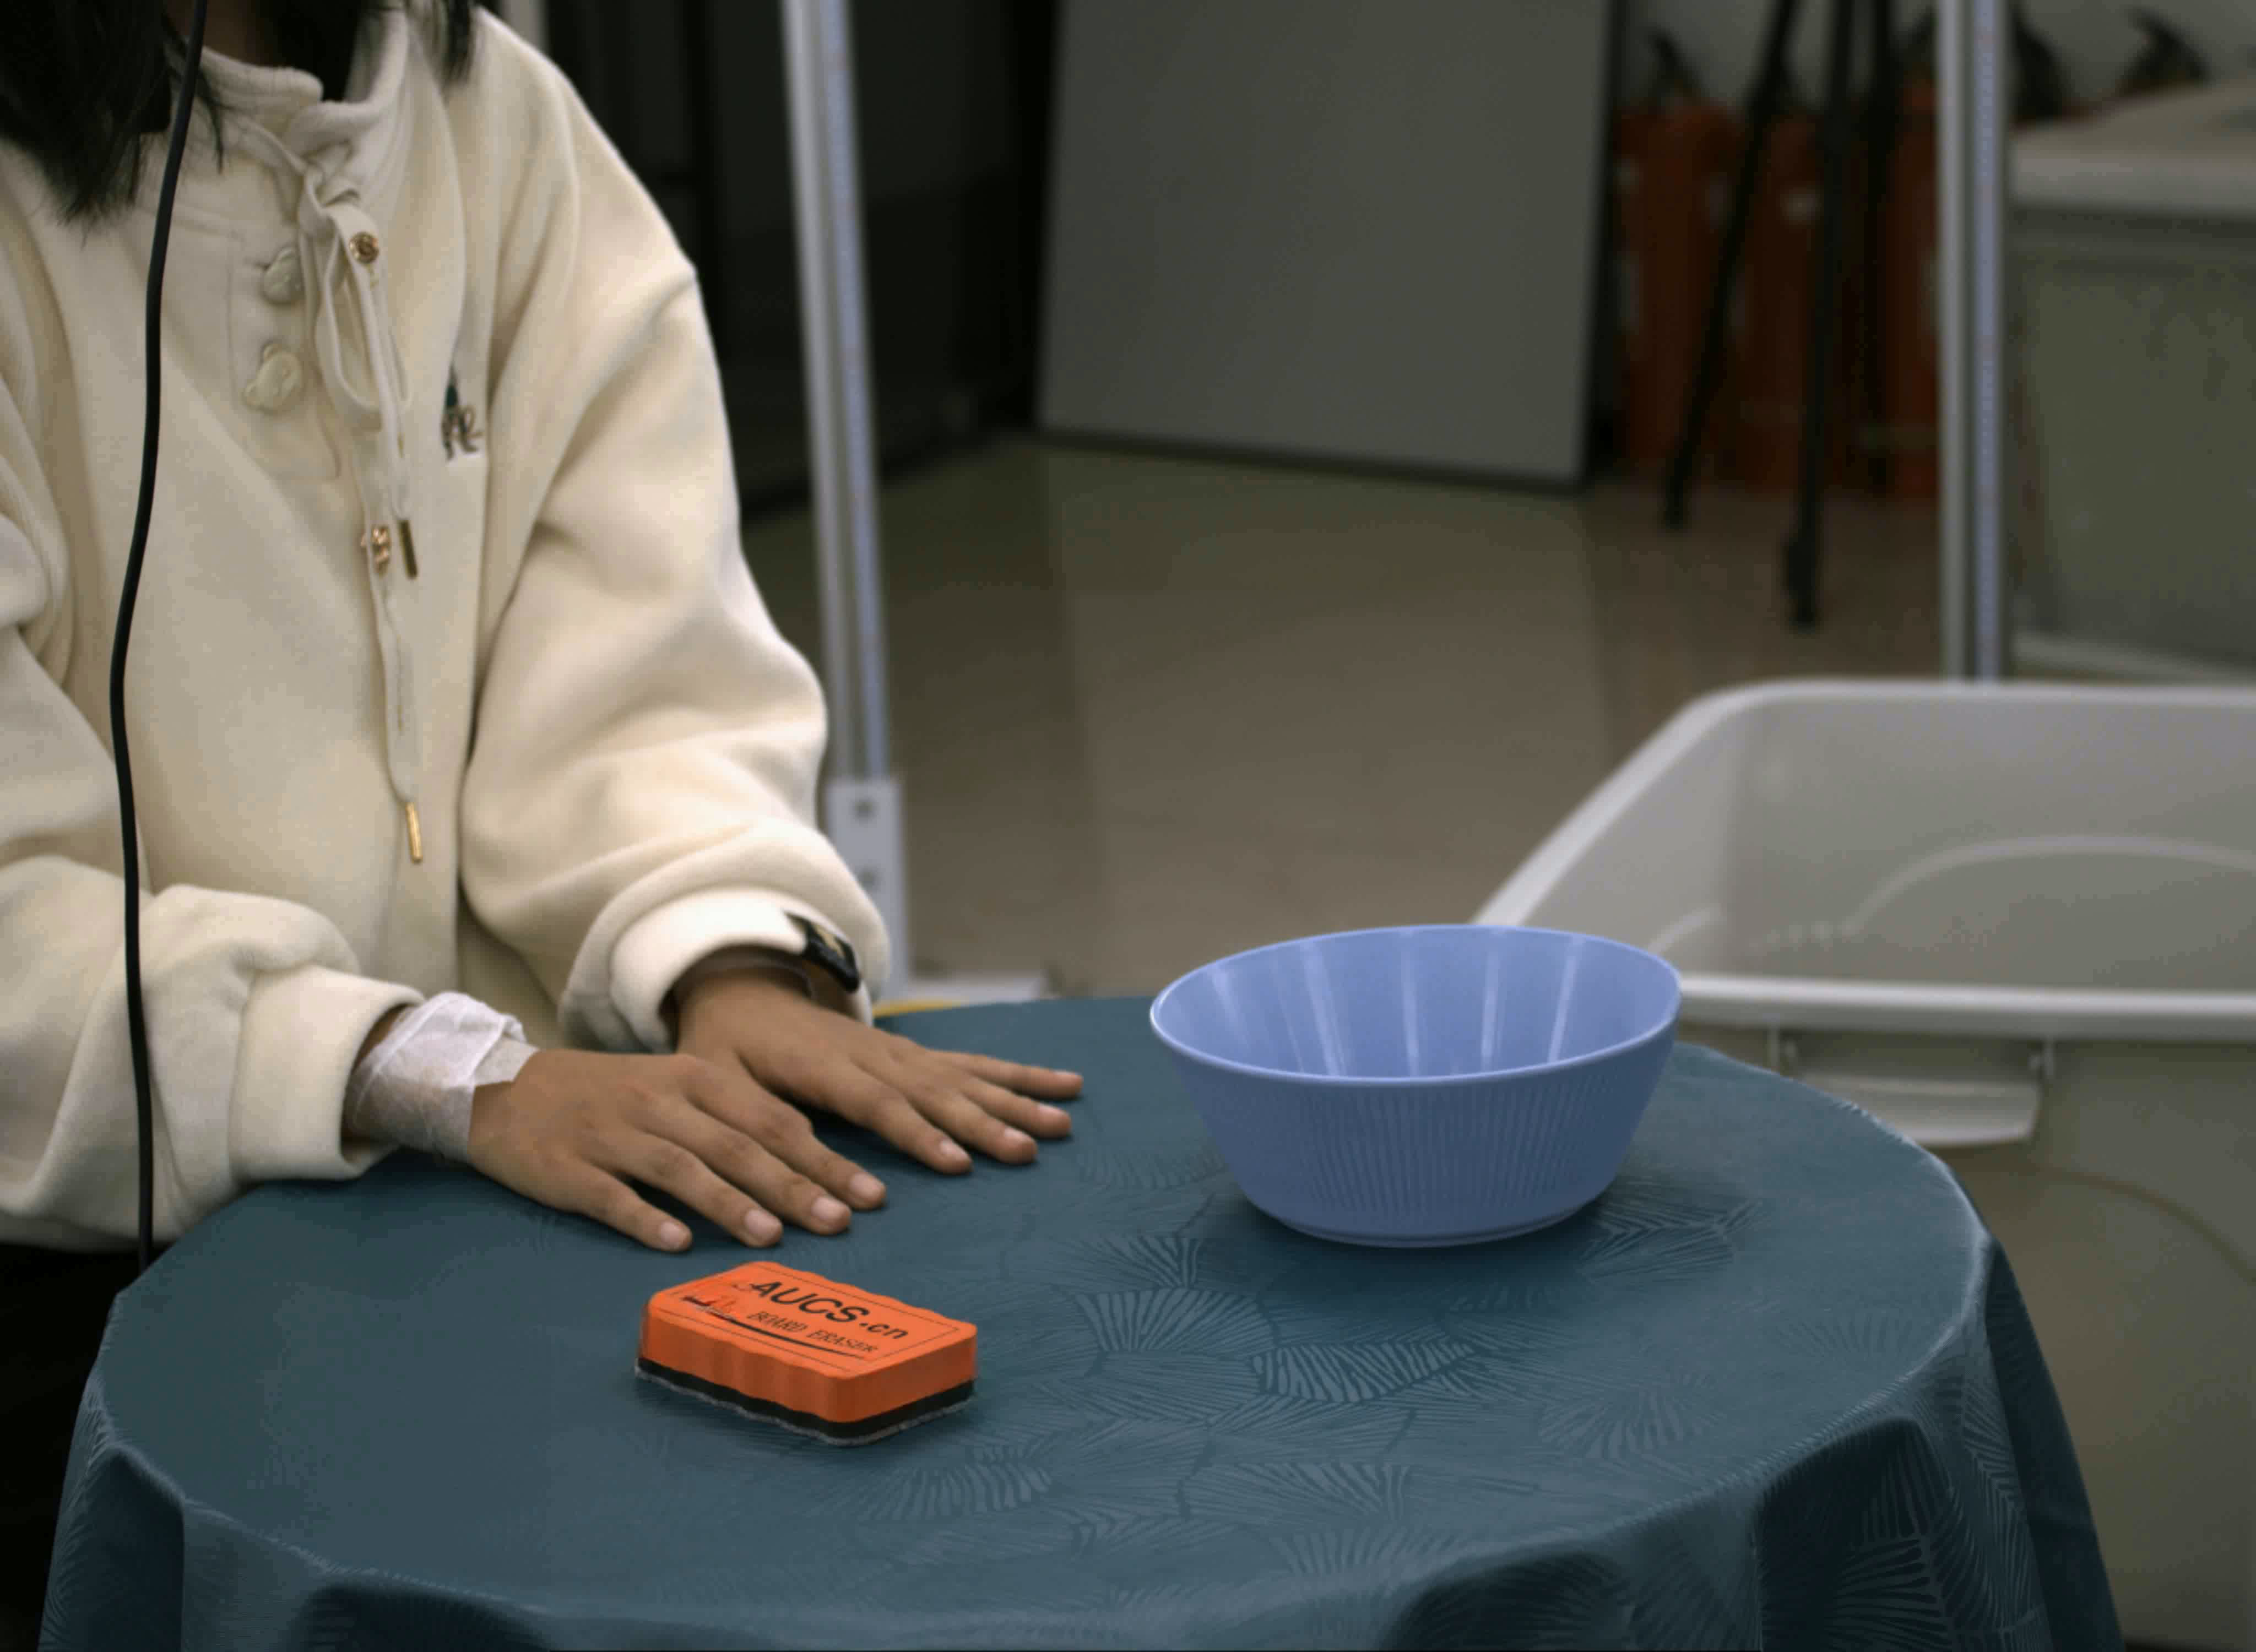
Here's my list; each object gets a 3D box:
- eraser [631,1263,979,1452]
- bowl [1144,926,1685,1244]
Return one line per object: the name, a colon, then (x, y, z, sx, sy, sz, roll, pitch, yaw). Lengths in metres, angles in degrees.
eraser: (-0.096, 0.157, 1.605, 0.058, 0.023, 0.109, -18, 19, -38)
bowl: (0.094, 0.085, 1.736, 0.174, 0.071, 0.176, -4, 14, 0)
